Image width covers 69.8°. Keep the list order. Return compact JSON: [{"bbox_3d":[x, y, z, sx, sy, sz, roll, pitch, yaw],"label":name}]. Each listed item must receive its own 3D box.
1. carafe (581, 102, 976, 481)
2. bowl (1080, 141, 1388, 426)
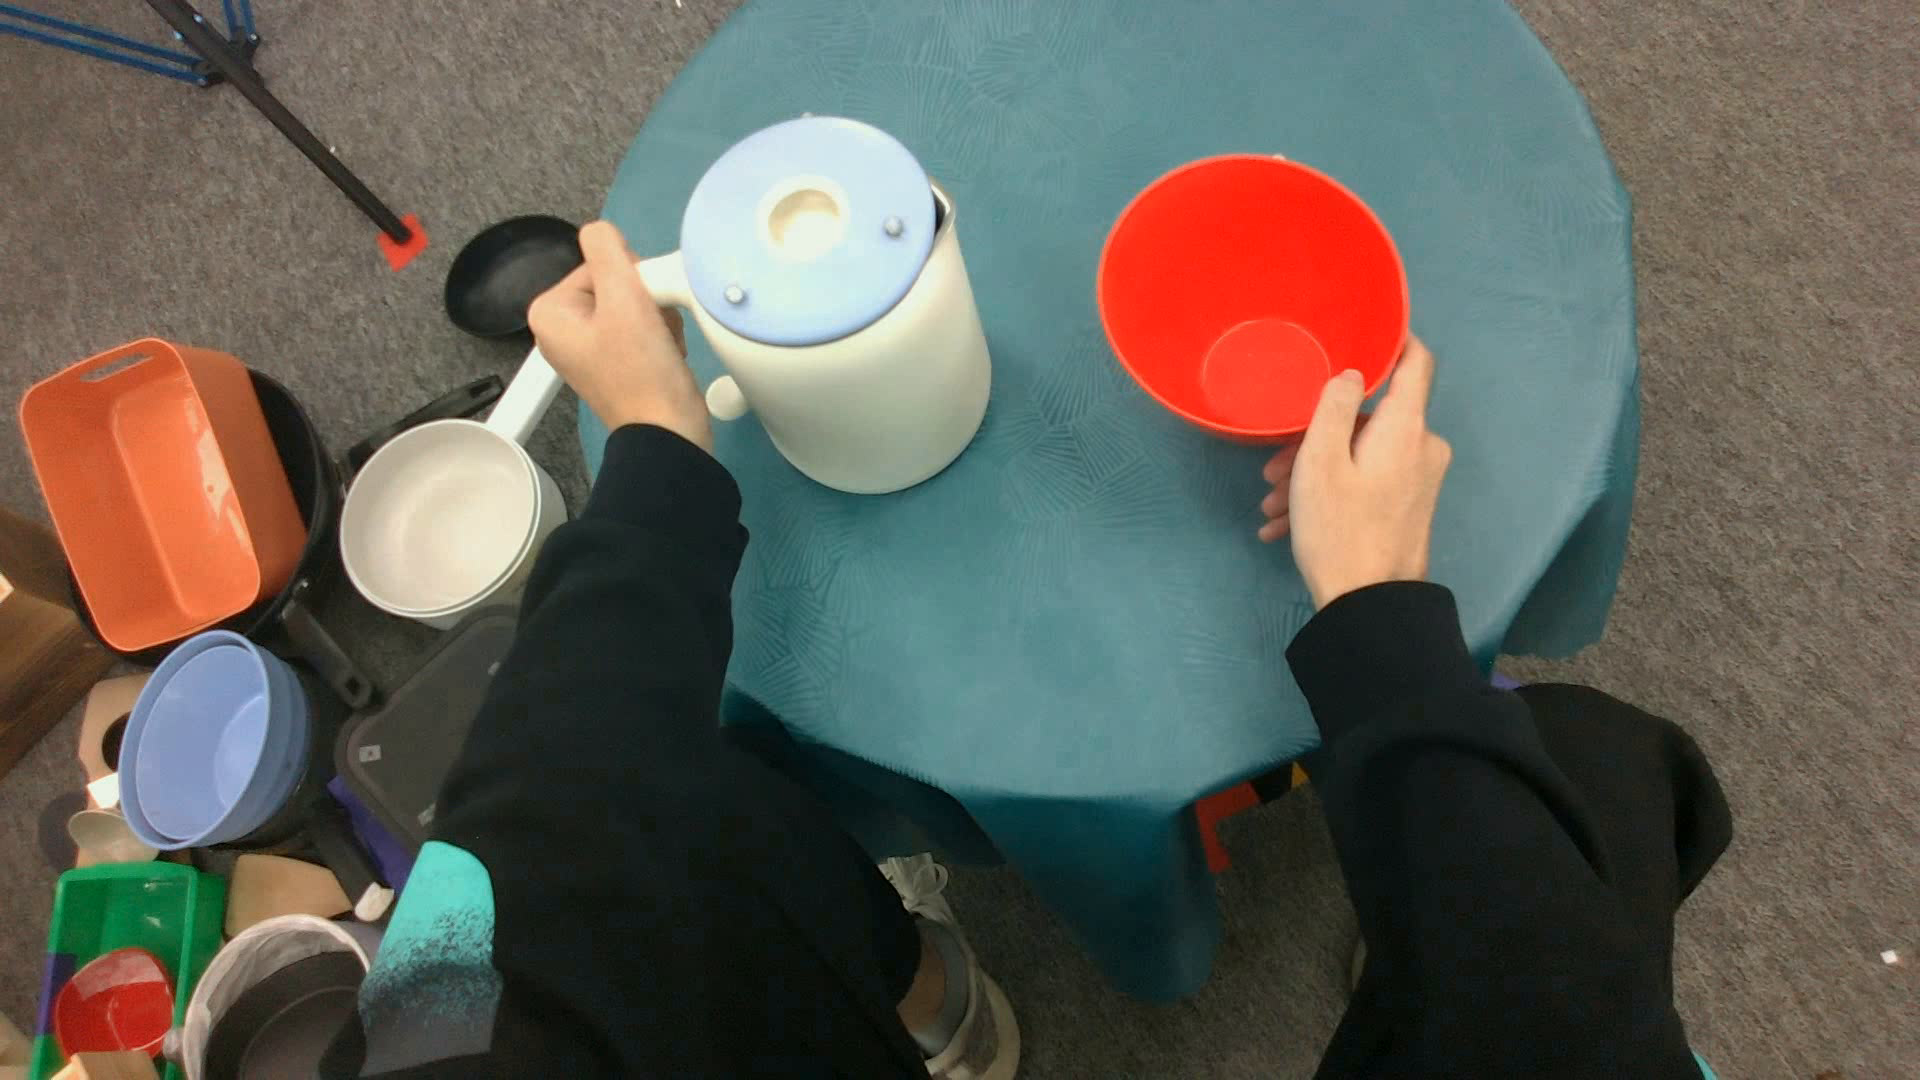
[{"bbox_3d":[-0.090,-0.115,0.700,0.191,0.182,0.132,-11,68,7],"label":"carafe"},{"bbox_3d":[0.139,-0.116,0.704,0.148,0.104,0.148,-3,70,8],"label":"bowl"}]
